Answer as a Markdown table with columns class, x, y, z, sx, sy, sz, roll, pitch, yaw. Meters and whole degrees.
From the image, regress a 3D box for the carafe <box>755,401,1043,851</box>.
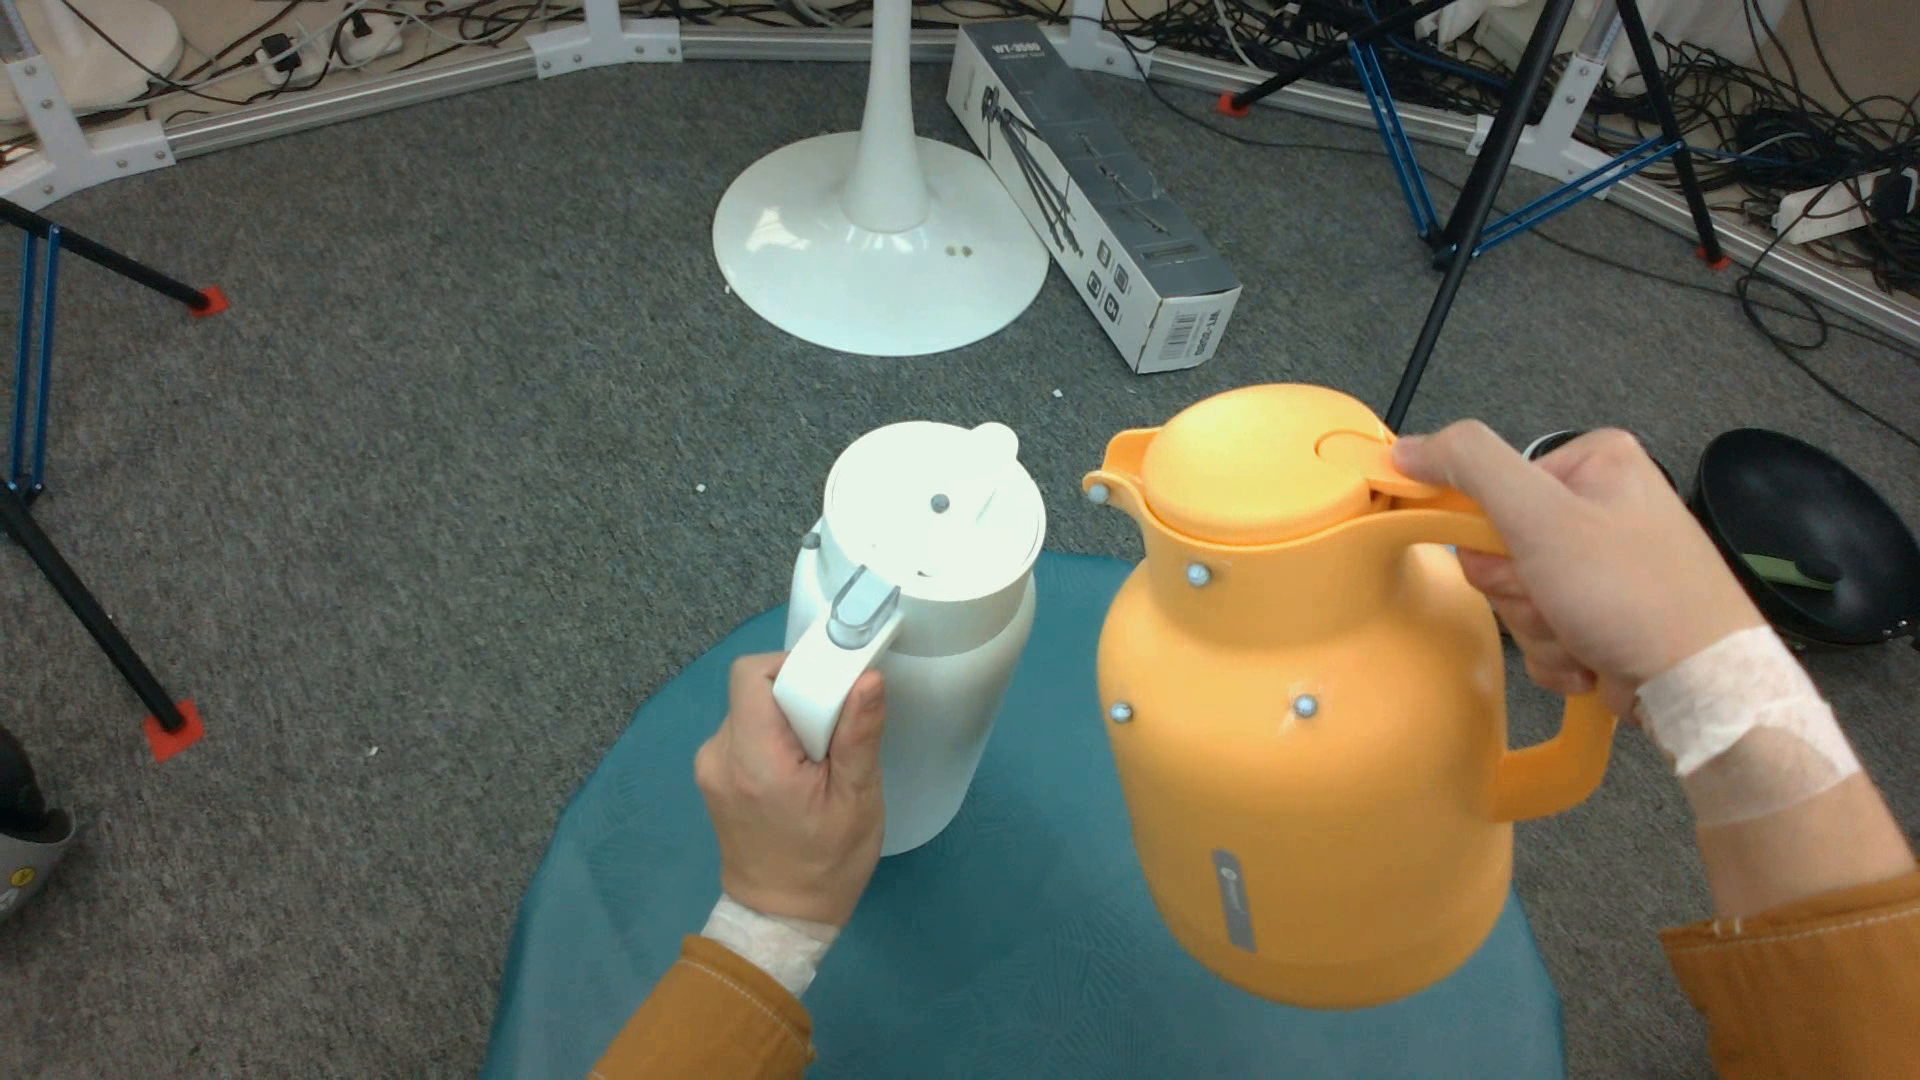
| class | x | y | z | sx | sy | sz | roll | pitch | yaw |
| --- | --- | --- | --- | --- | --- | --- | --- | --- | --- |
| carafe | -0.041 | 0.067 | 0.693 | 0.124 | 0.267 | 0.173 | 31 | 55 | 7 |

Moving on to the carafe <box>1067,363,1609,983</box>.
| class | x | y | z | sx | sy | sz | roll | pitch | yaw |
| --- | --- | --- | --- | --- | --- | --- | --- | --- | --- |
| carafe | 0.153 | 0.056 | 0.562 | 0.202 | 0.259 | 0.164 | 8 | 45 | 34 |
